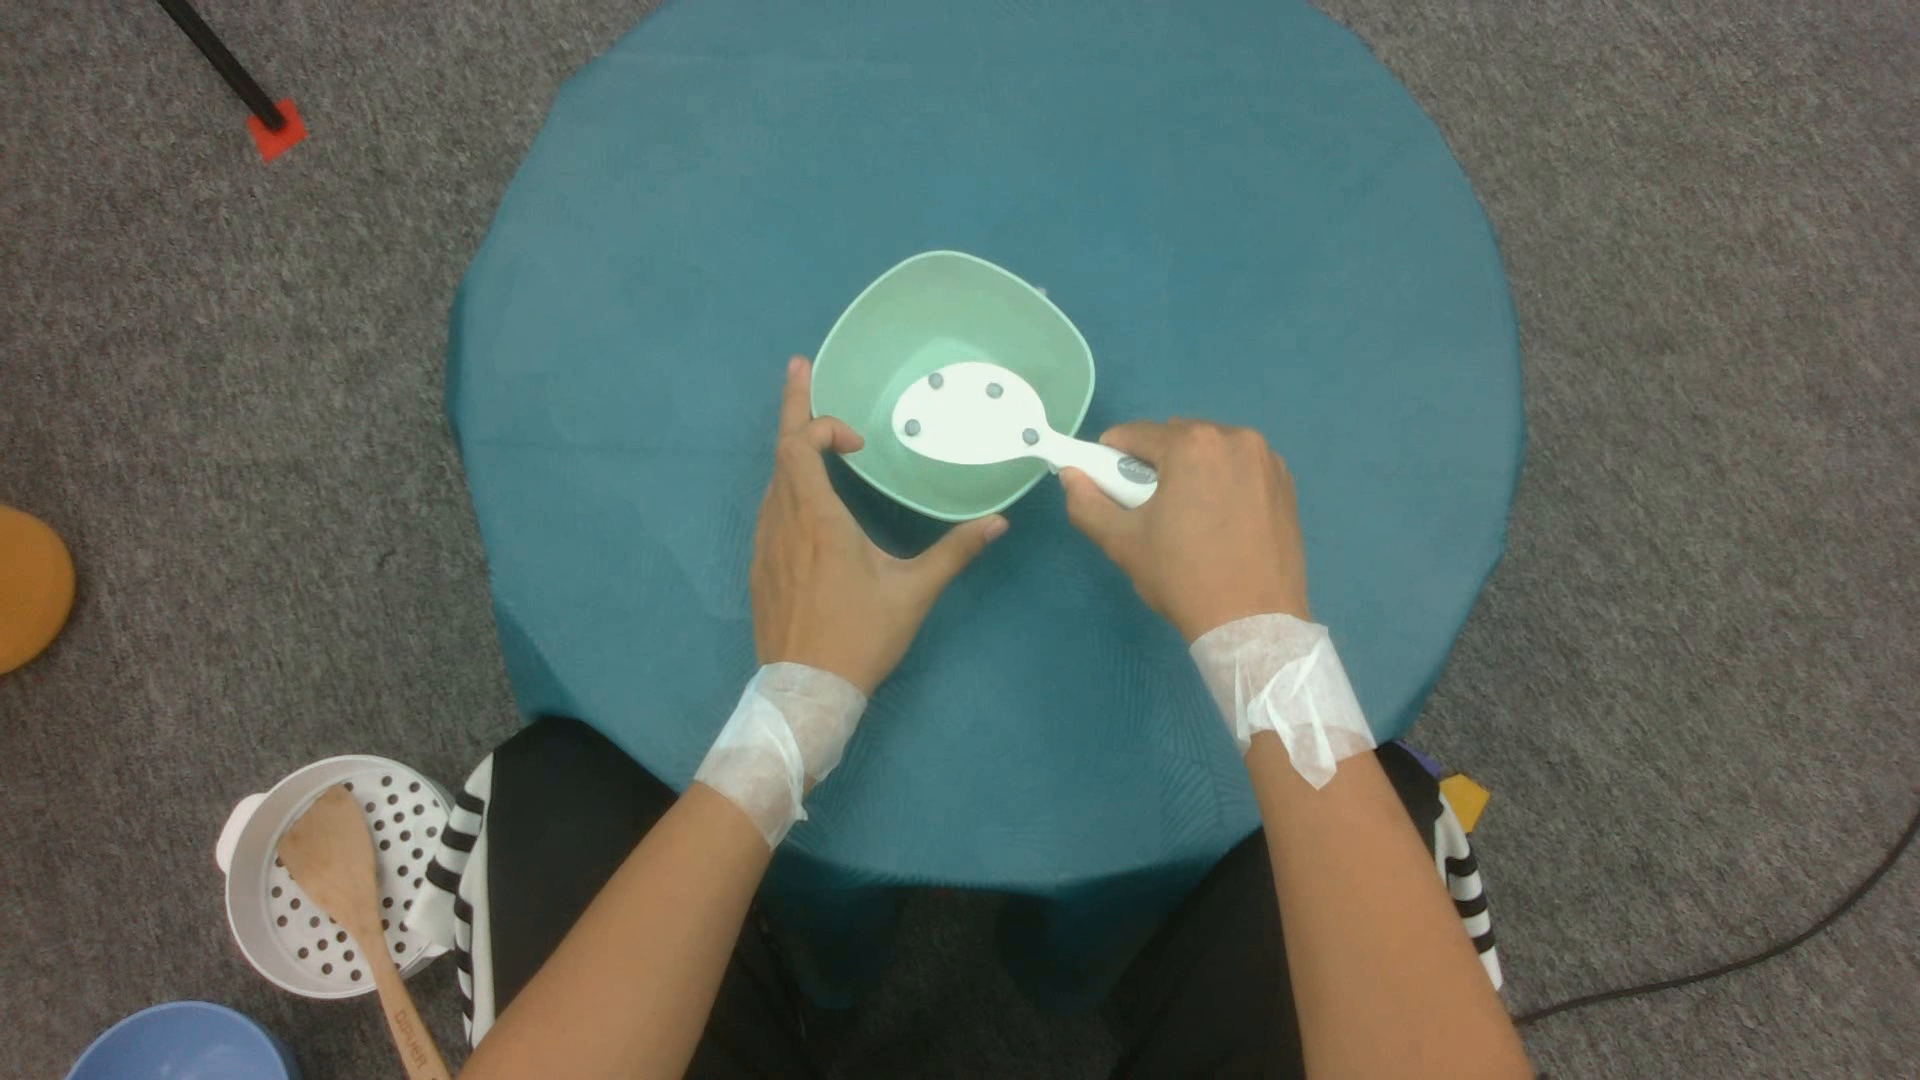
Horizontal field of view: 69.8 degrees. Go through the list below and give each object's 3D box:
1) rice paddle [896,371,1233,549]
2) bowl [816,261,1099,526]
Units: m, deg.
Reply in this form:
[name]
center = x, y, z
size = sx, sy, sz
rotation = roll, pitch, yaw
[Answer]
[rice paddle]
center = 0.045, -0.046, 0.701
size = 0.205, 0.029, 0.069
rotation = 26, 62, 37
[bowl]
center = -0.001, -0.072, 0.756
size = 0.151, 0.058, 0.152
rotation = 0, 73, -1
